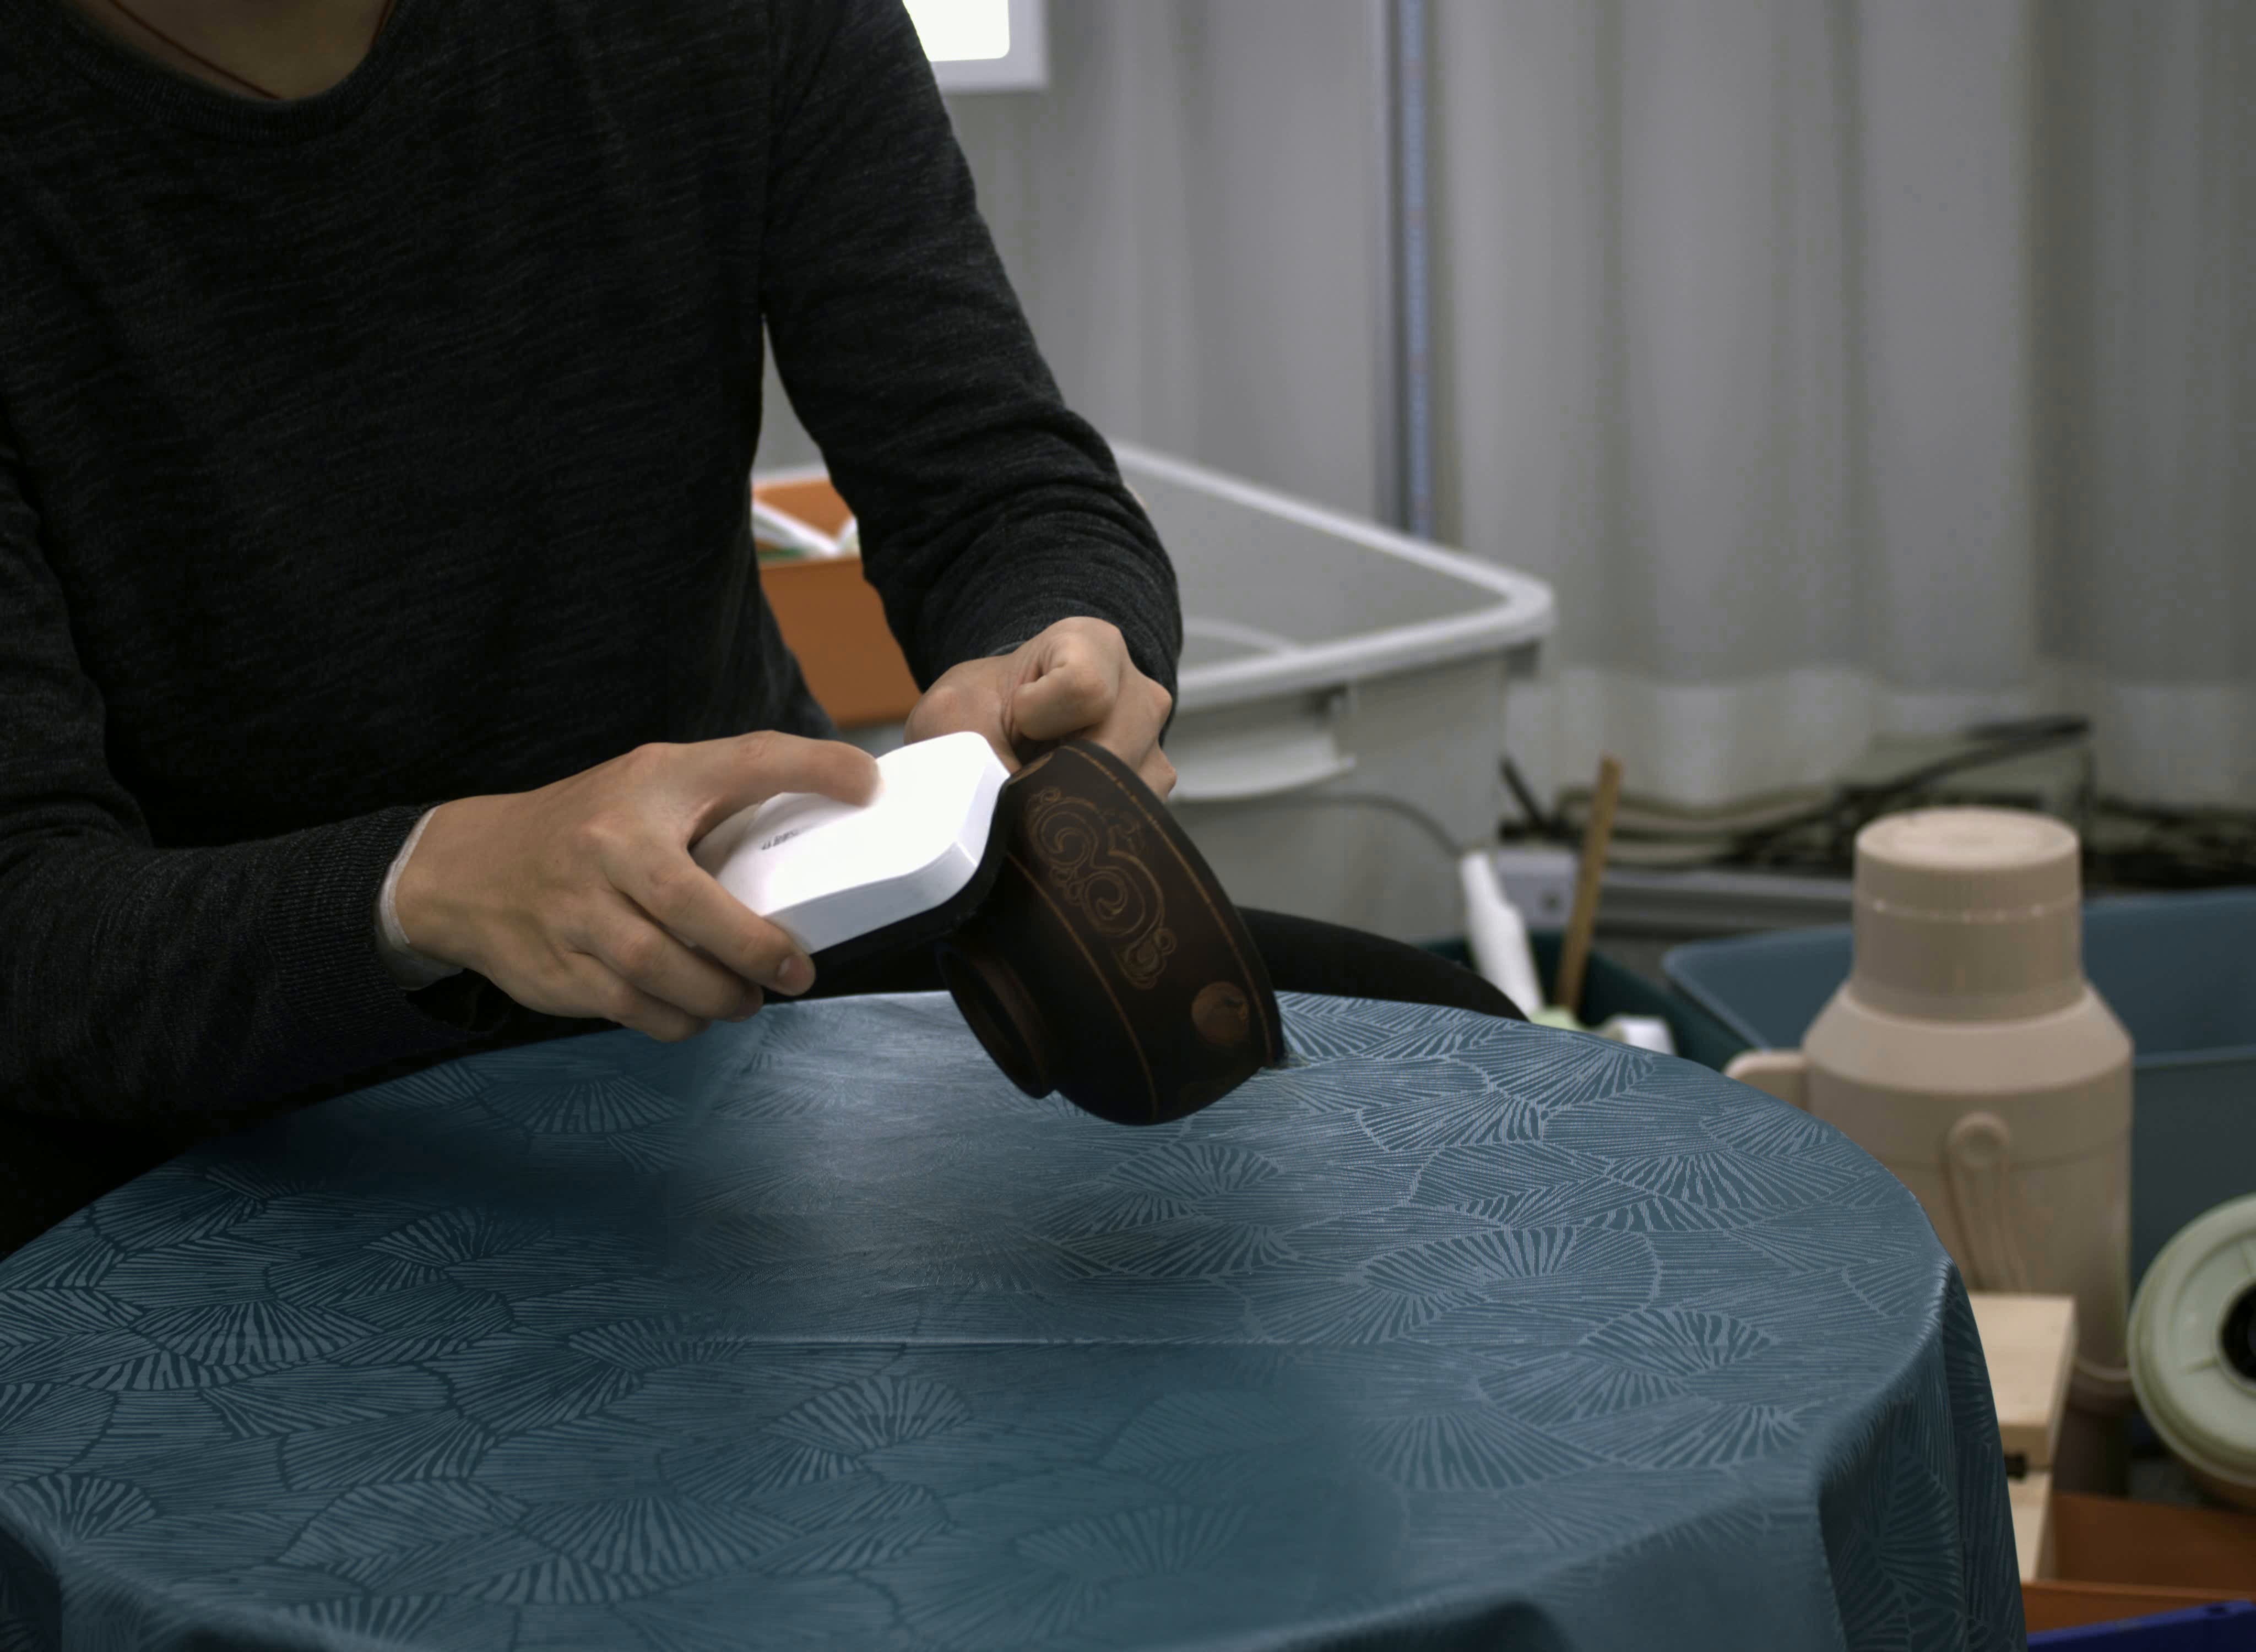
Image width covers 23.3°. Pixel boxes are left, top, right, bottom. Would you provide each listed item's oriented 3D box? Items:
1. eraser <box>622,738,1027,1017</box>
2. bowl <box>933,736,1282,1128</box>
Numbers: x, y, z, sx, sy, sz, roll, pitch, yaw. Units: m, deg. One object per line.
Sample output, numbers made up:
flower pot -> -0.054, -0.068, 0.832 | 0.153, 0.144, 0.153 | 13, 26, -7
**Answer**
eraser -> -0.090, 0.014, 1.612 | 0.131, 0.034, 0.064 | -19, 33, 34
bowl -> -0.014, 0.040, 1.629 | 0.070, 0.117, 0.119 | -33, 24, -15
